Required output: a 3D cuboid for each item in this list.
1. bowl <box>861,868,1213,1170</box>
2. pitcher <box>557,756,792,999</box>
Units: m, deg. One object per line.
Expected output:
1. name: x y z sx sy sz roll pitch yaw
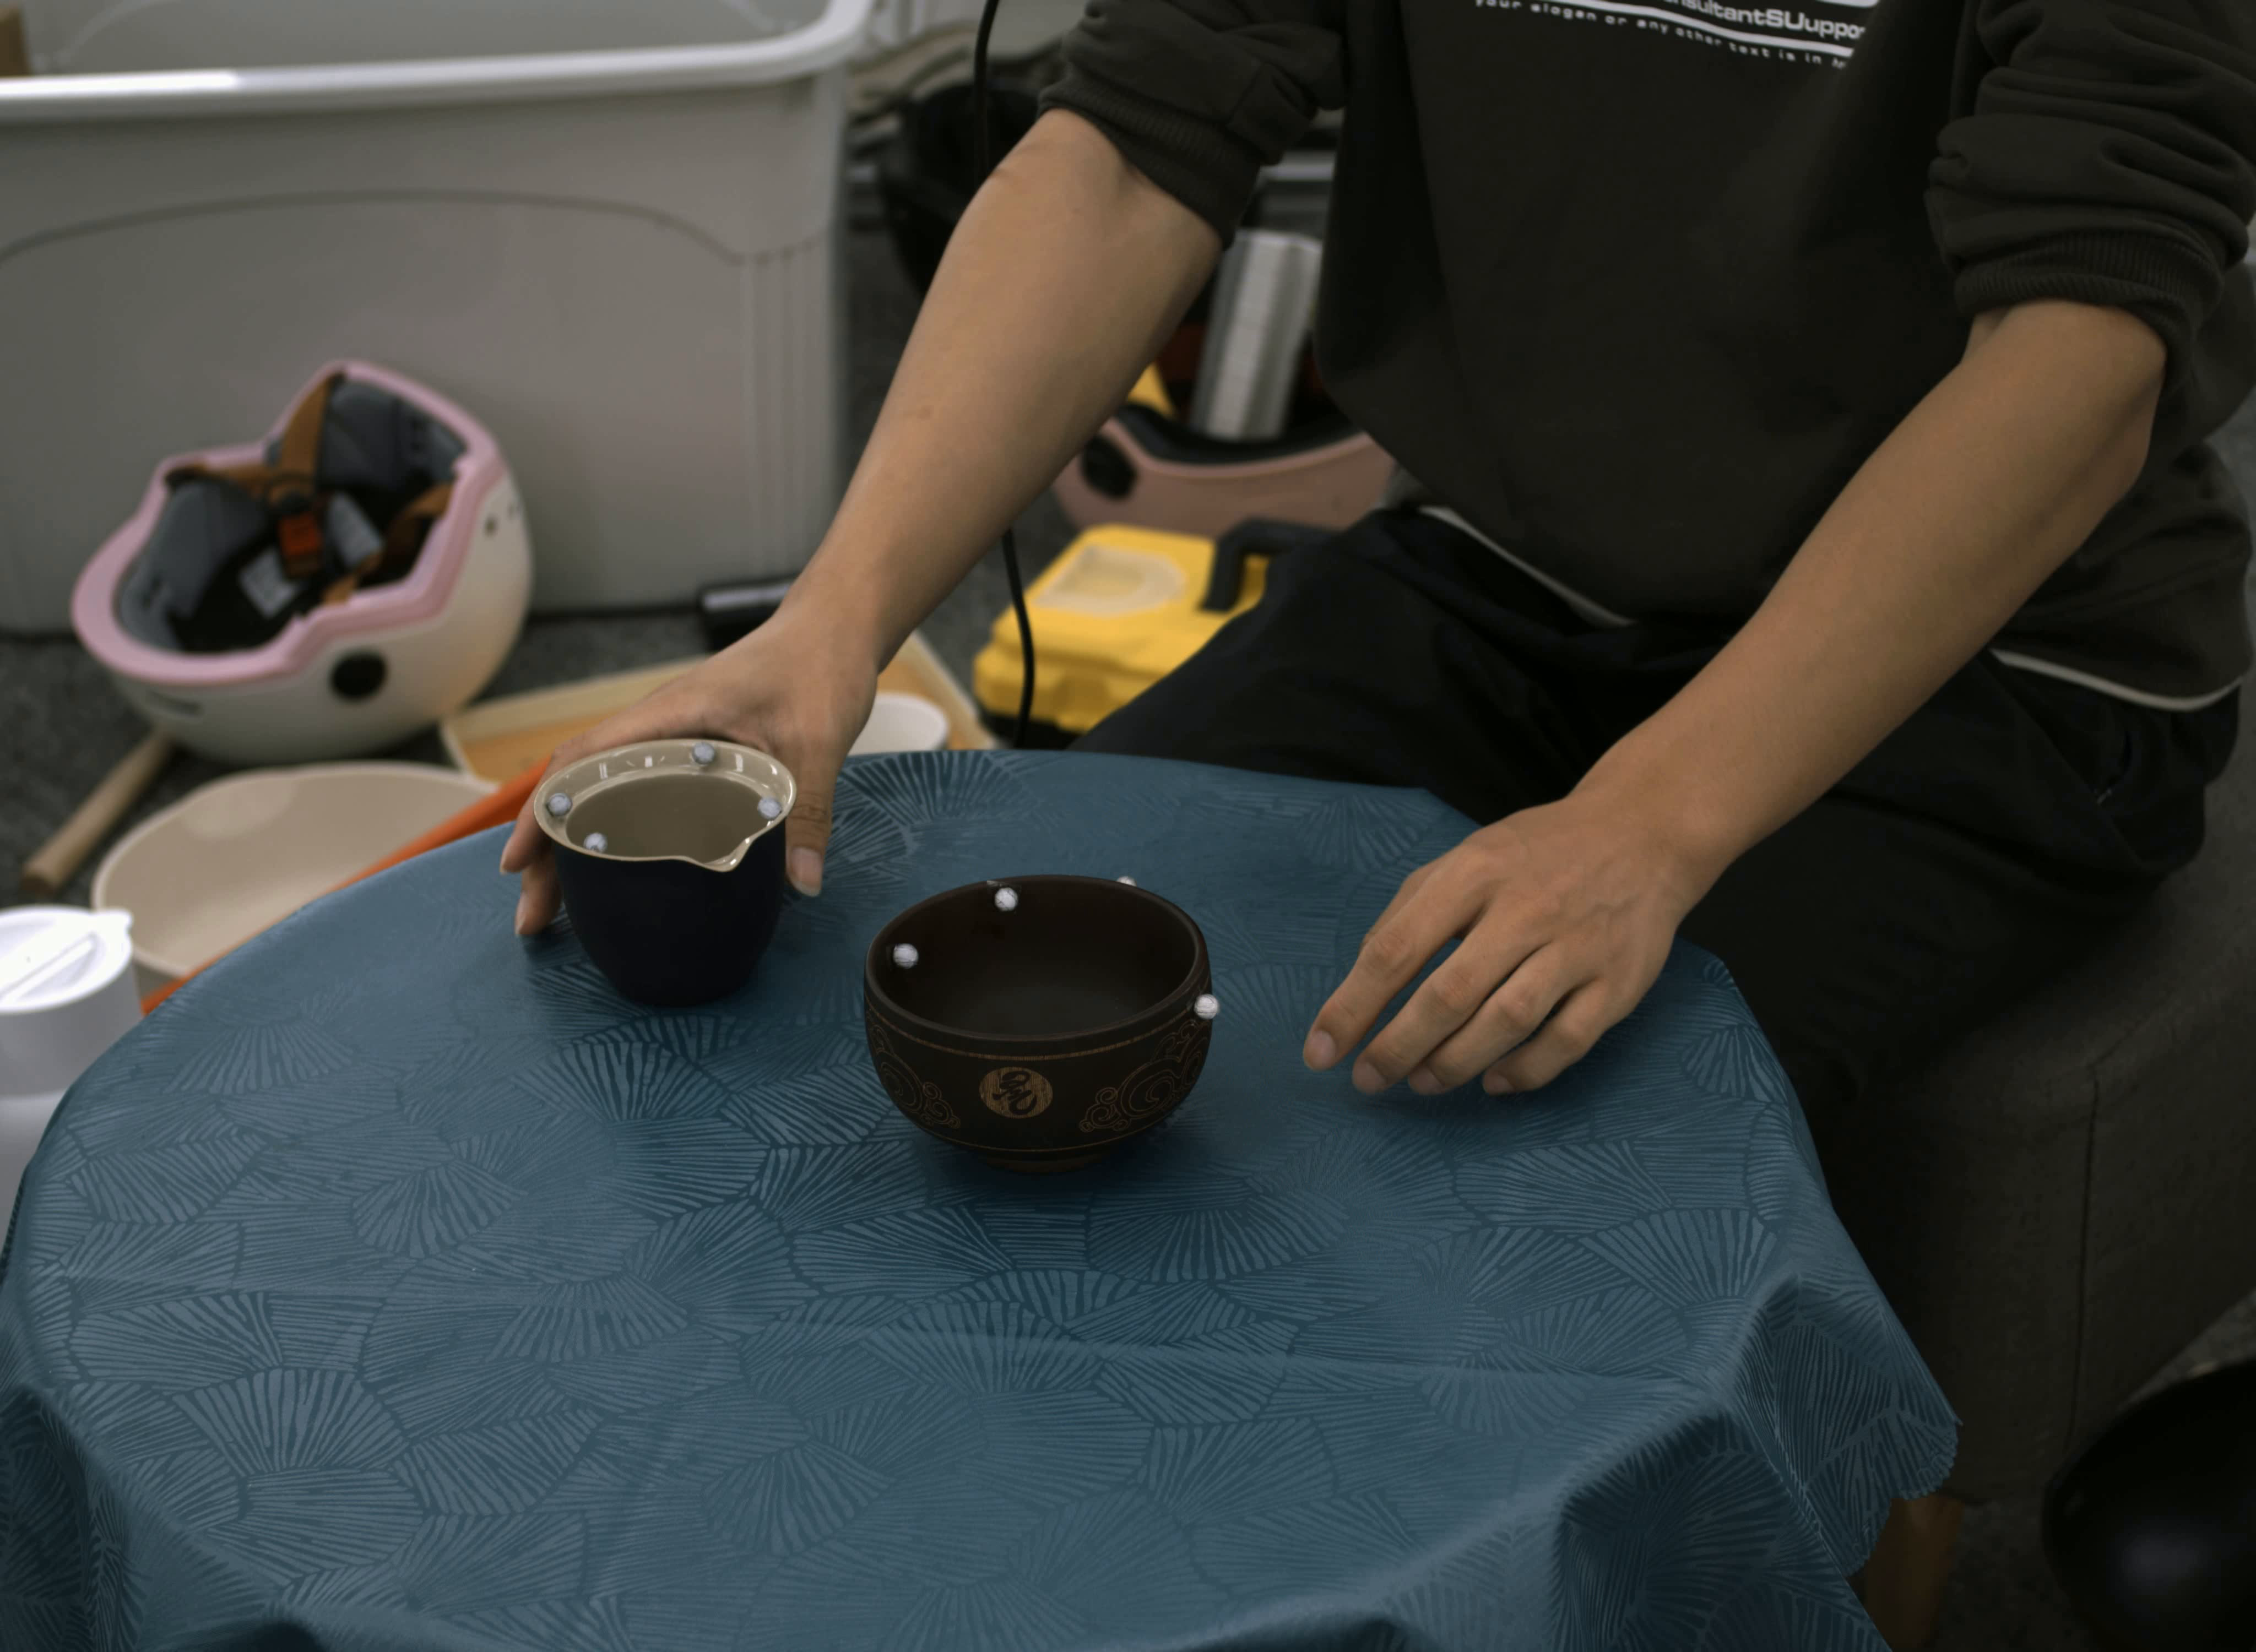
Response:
1. bowl: -0.029 0.072 1.887 0.117 0.069 0.120 -3 28 2
2. pitcher: -0.158 0.021 1.992 0.084 0.070 0.097 -10 27 -18
